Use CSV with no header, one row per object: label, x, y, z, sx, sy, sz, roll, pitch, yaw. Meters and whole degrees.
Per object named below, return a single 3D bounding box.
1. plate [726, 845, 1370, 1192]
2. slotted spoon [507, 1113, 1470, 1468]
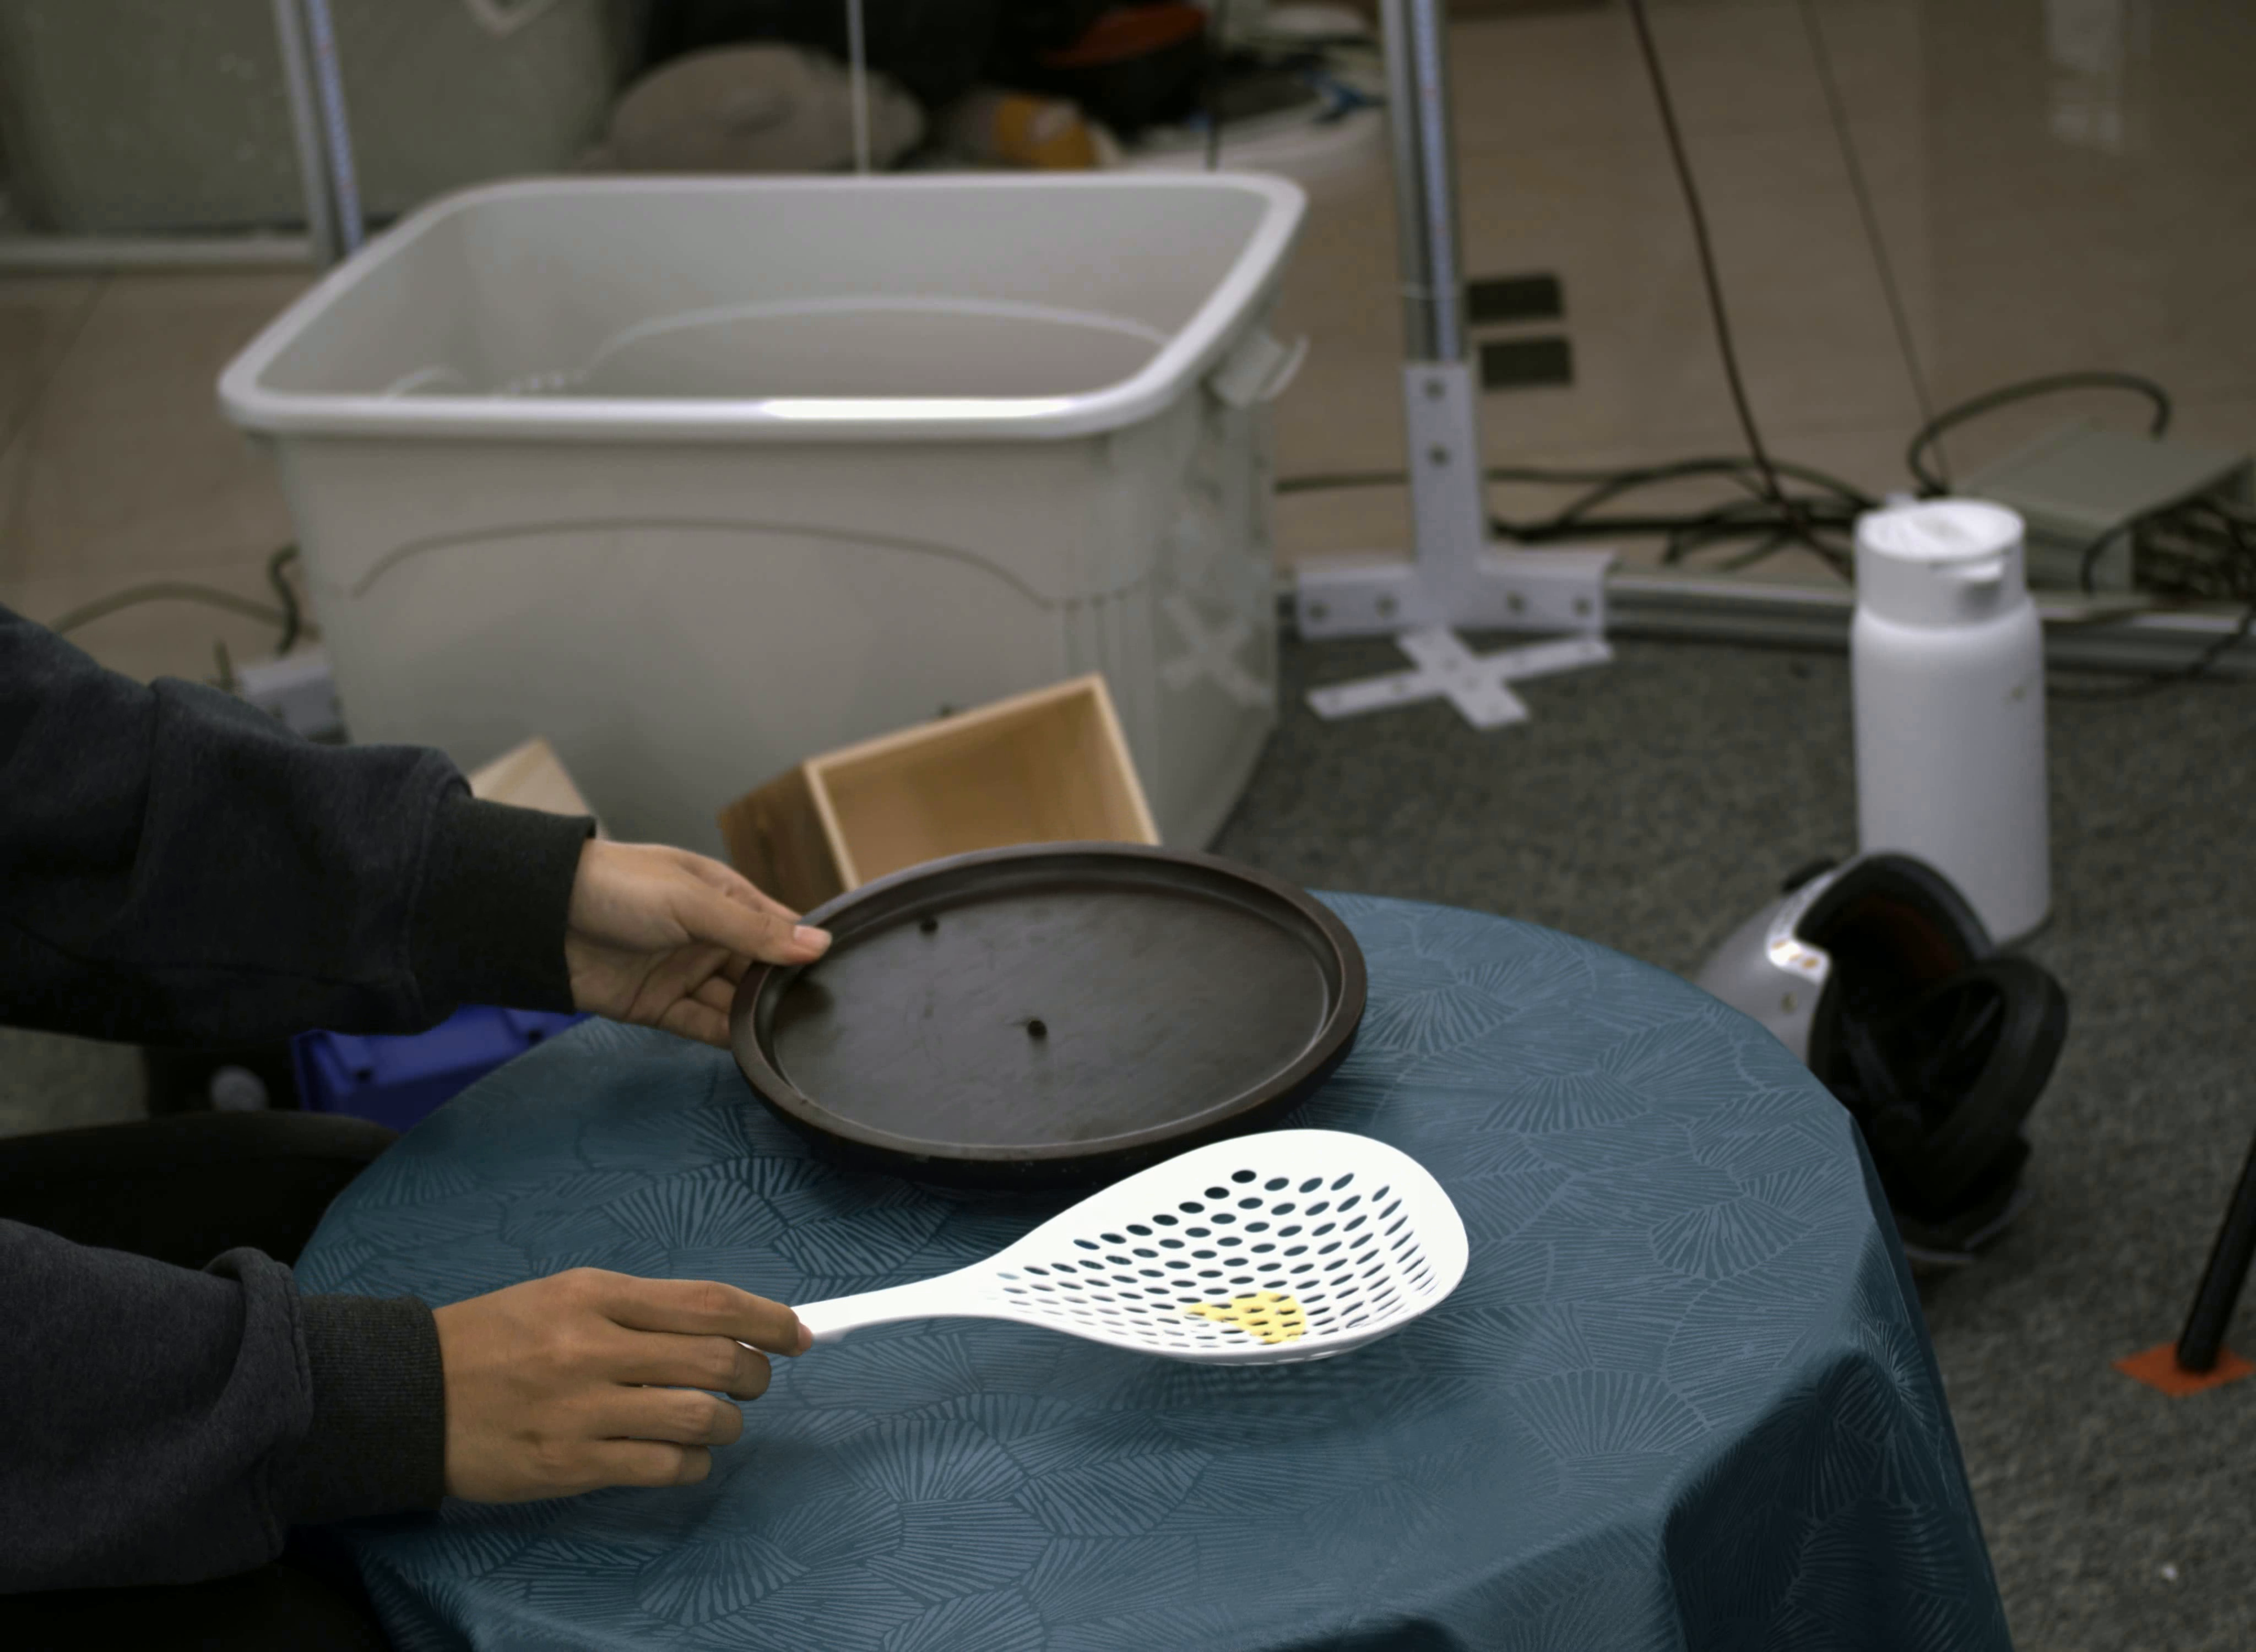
plate,-0.031,0.074,2.225,0.254,0.029,0.250,-4,29,2
slotted spoon,-0.050,0.175,2.012,0.347,0.051,0.134,-8,33,-13
